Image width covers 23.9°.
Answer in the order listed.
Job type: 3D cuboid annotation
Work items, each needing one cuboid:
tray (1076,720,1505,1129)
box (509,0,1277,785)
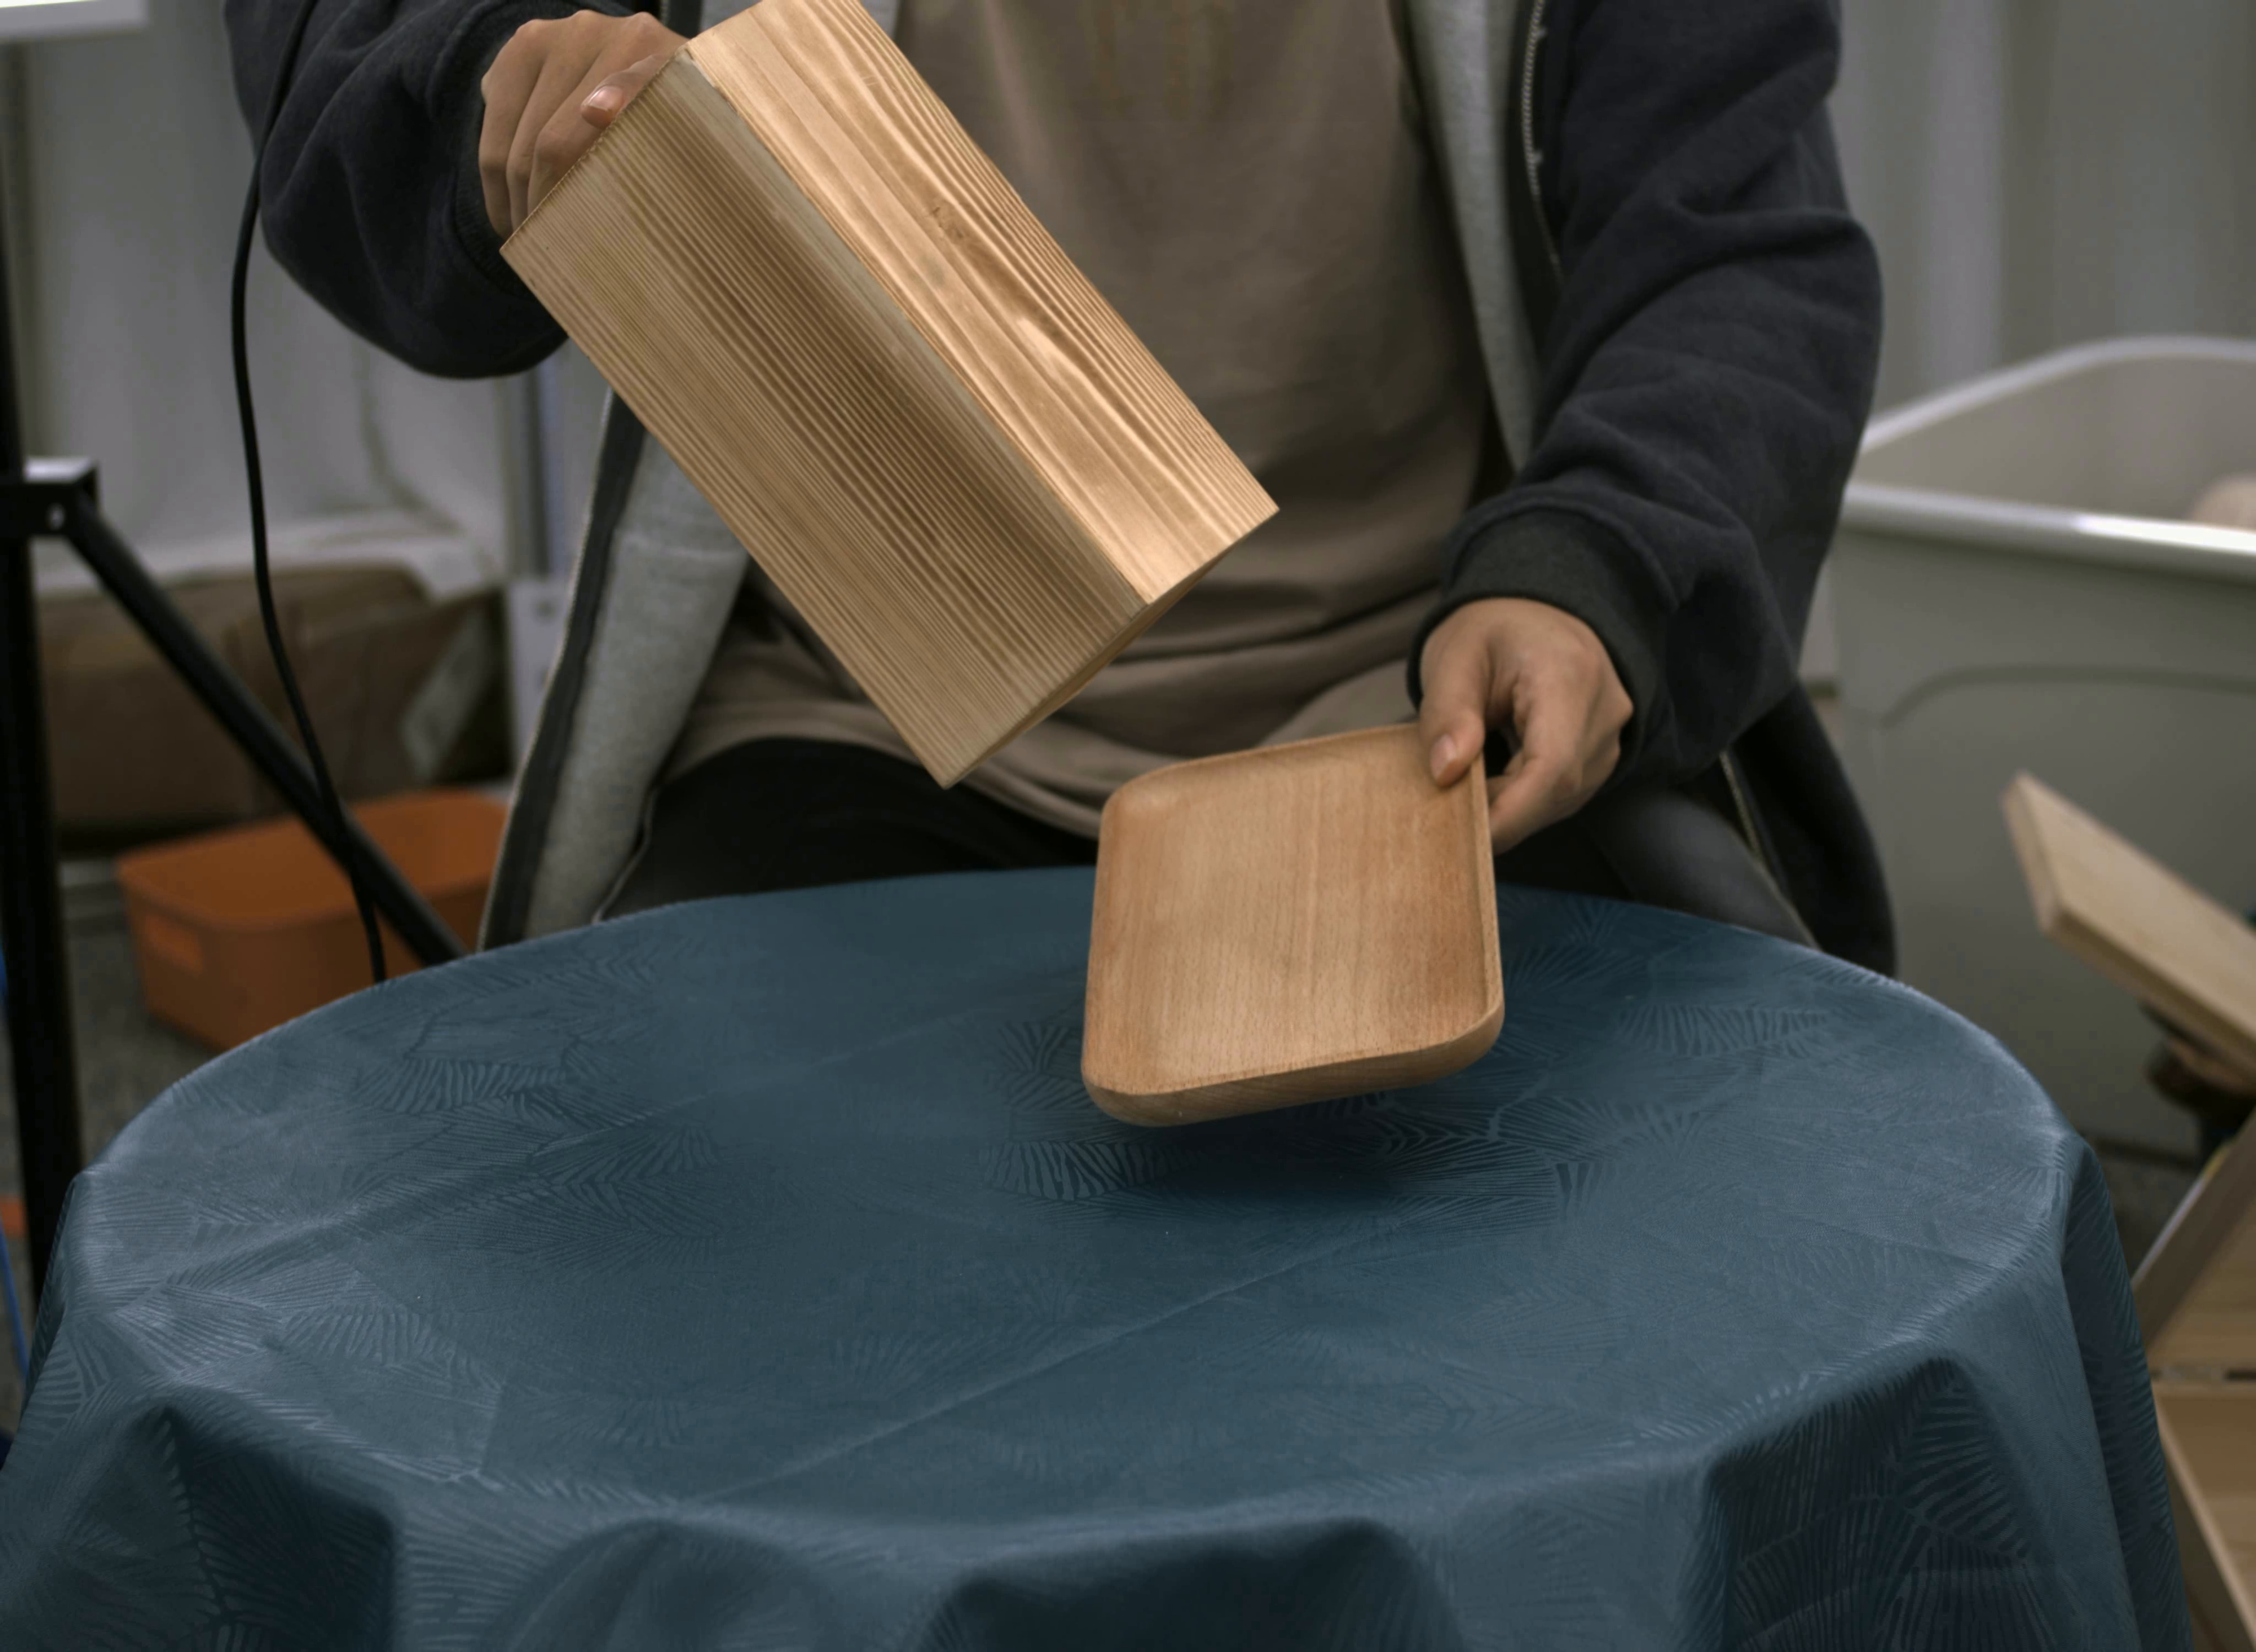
[{"bbox_3d":[0.051,0.028,1.650,0.130,0.023,0.251,-8,22,6],"label":"tray"},{"bbox_3d":[-0.071,-0.134,1.591,0.109,0.212,0.079,-43,-5,42],"label":"box"}]
